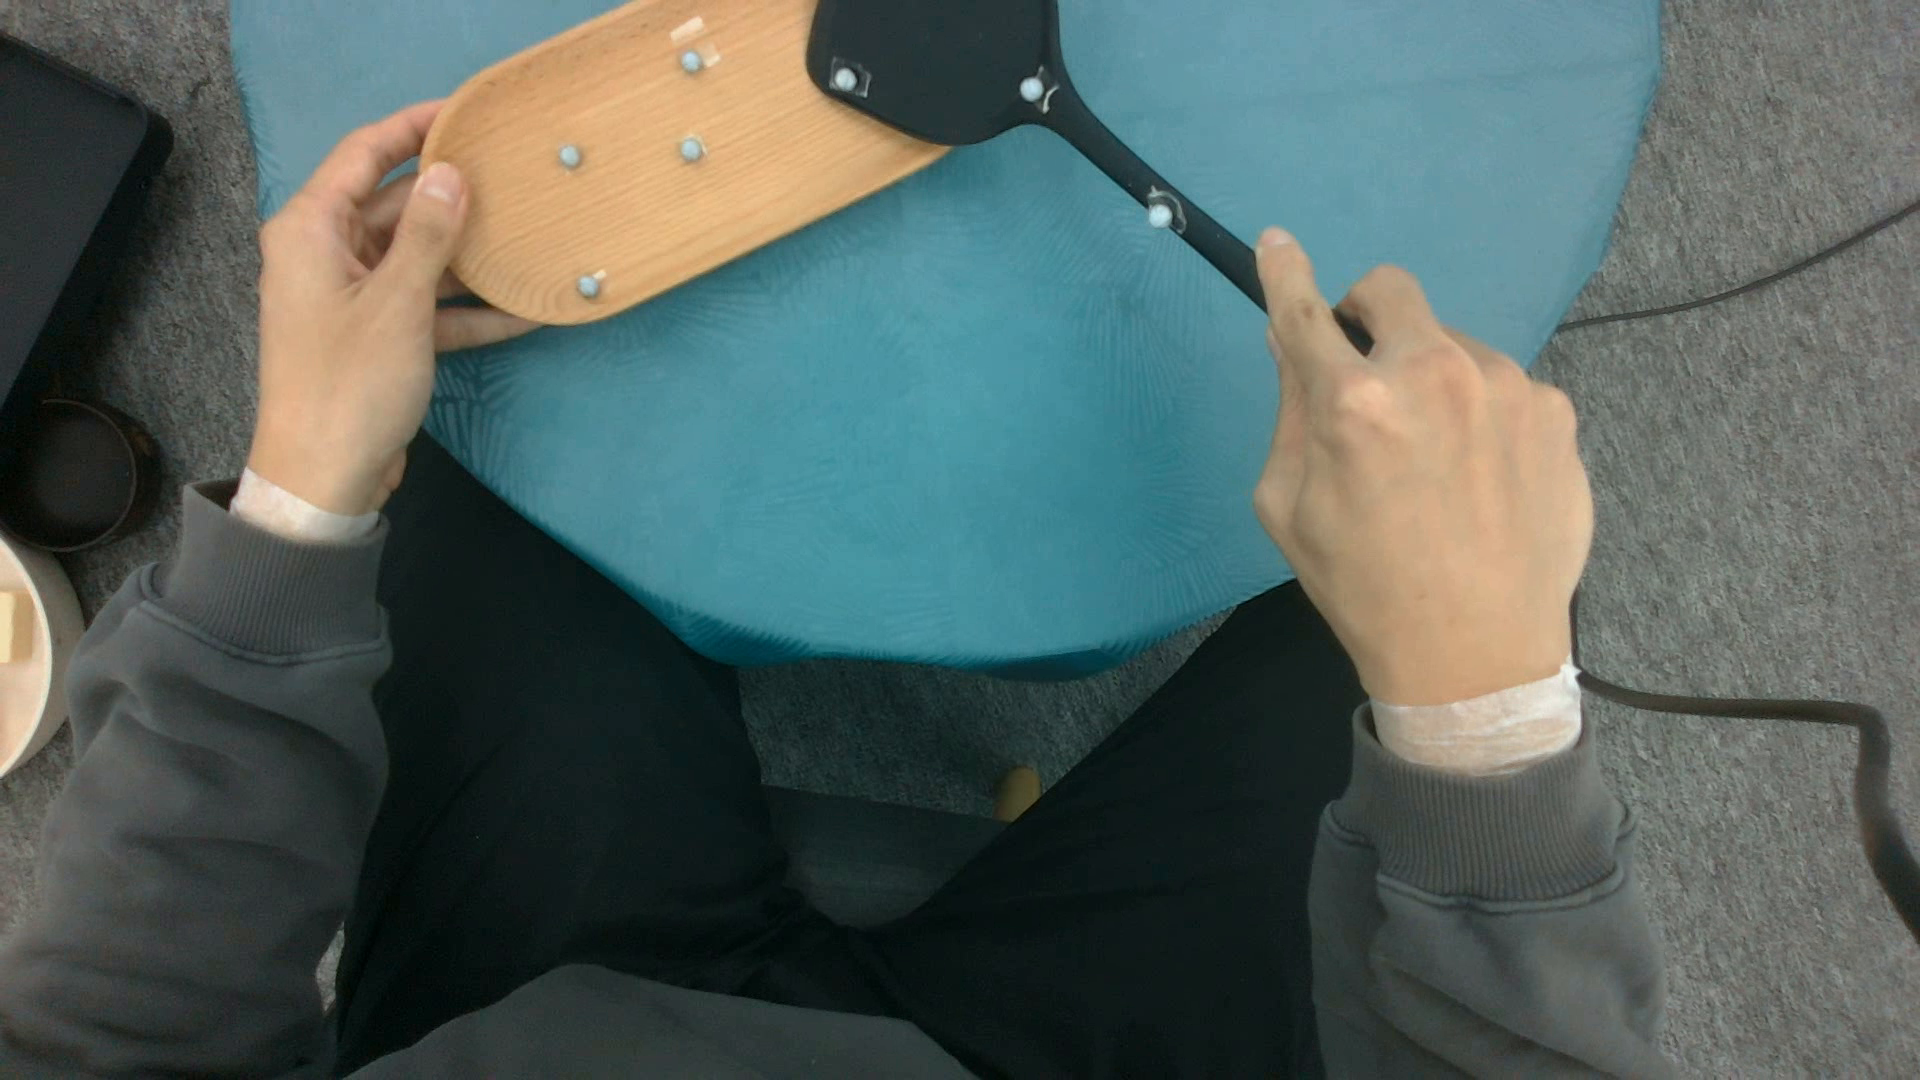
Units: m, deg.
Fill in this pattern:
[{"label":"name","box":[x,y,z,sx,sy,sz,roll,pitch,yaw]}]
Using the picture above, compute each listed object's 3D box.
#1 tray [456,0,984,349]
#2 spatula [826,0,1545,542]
[{"label":"tray","box":[-0.092,-0.157,0.559,0.231,0.020,0.101,-27,99,-5]},{"label":"spatula","box":[0.074,-0.109,0.494,0.326,0.040,0.099,47,129,21]}]
